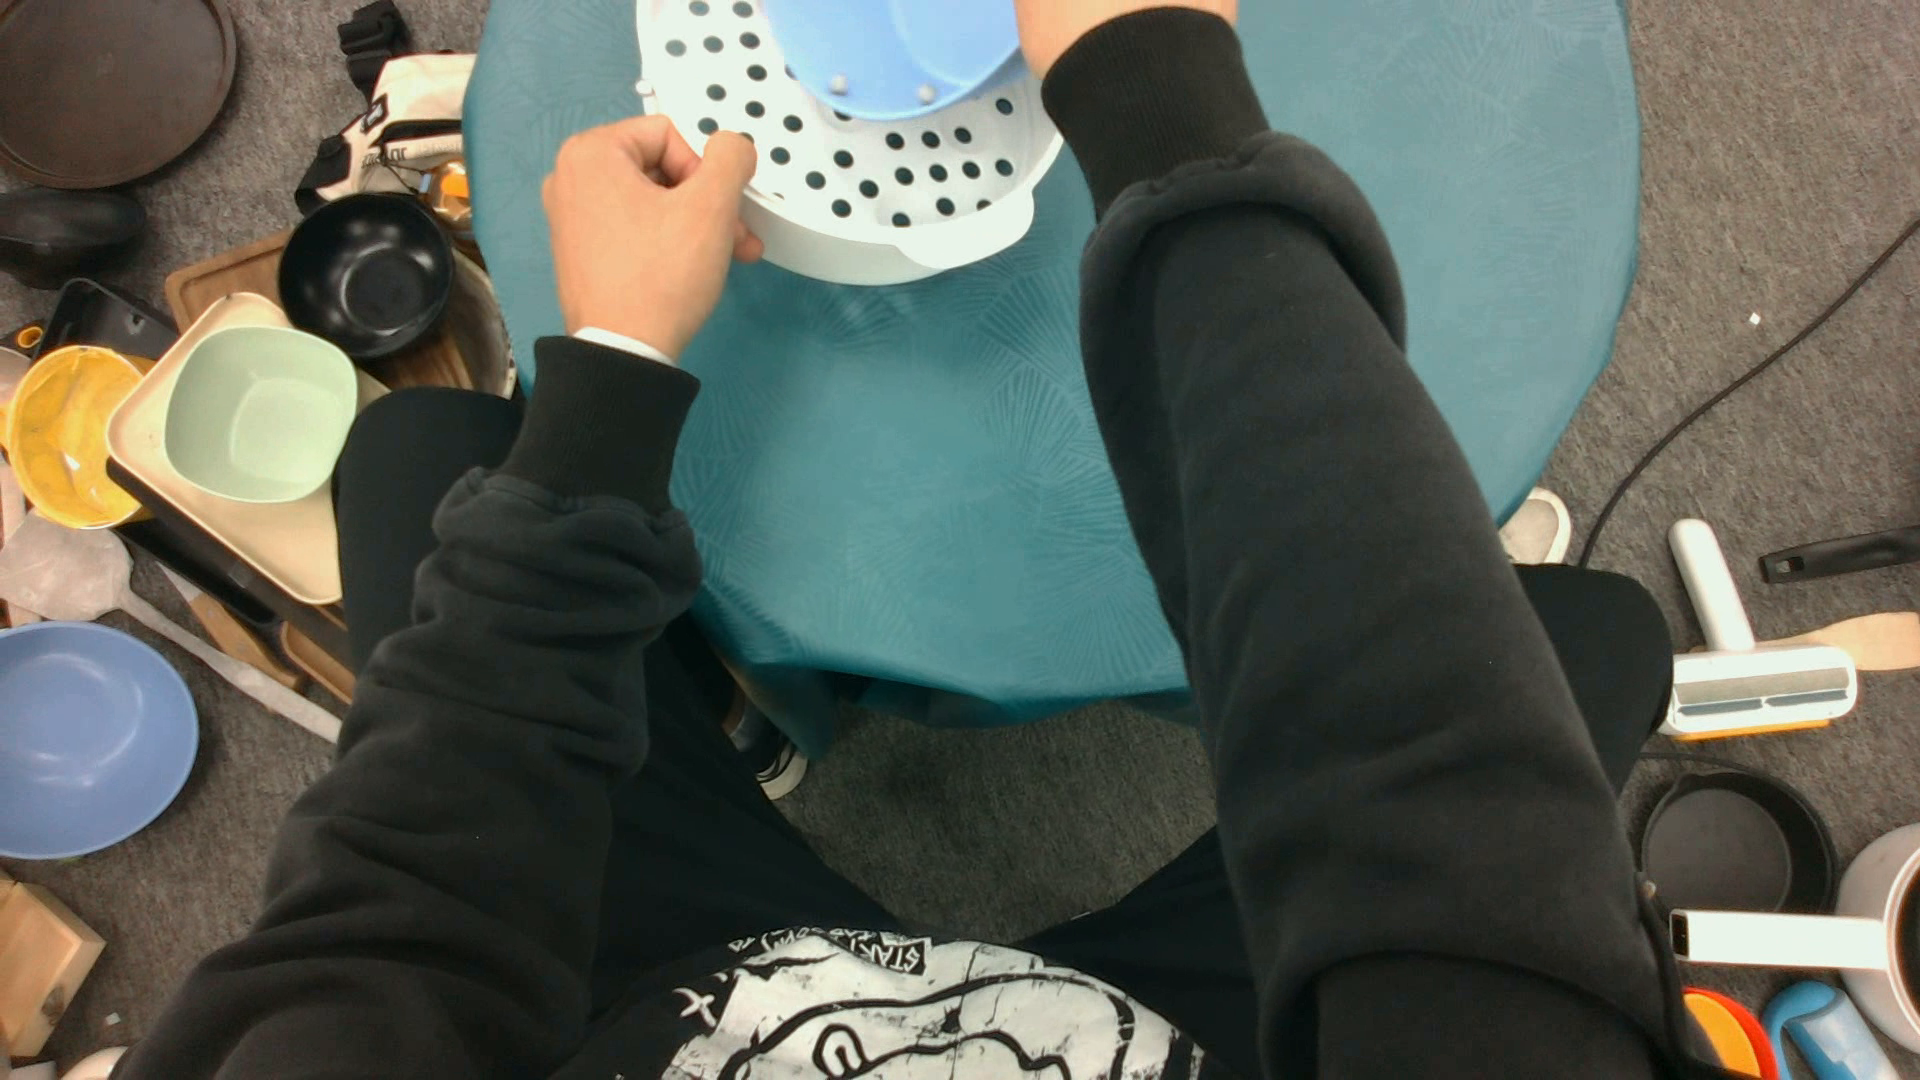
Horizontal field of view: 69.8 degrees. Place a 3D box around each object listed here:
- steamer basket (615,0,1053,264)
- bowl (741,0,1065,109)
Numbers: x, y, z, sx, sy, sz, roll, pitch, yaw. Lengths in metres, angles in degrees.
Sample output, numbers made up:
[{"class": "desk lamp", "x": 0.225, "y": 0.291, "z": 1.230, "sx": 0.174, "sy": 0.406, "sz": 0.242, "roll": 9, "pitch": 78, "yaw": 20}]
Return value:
[{"class": "steamer basket", "x": -0.060, "y": -0.228, "z": 0.653, "sx": 0.202, "sy": 0.069, "sz": 0.231, "roll": -27, "pitch": 81, "yaw": -22}, {"class": "bowl", "x": -0.011, "y": -0.269, "z": 0.600, "sx": 0.175, "sy": 0.070, "sz": 0.176, "roll": 0, "pitch": 89, "yaw": 33}]
